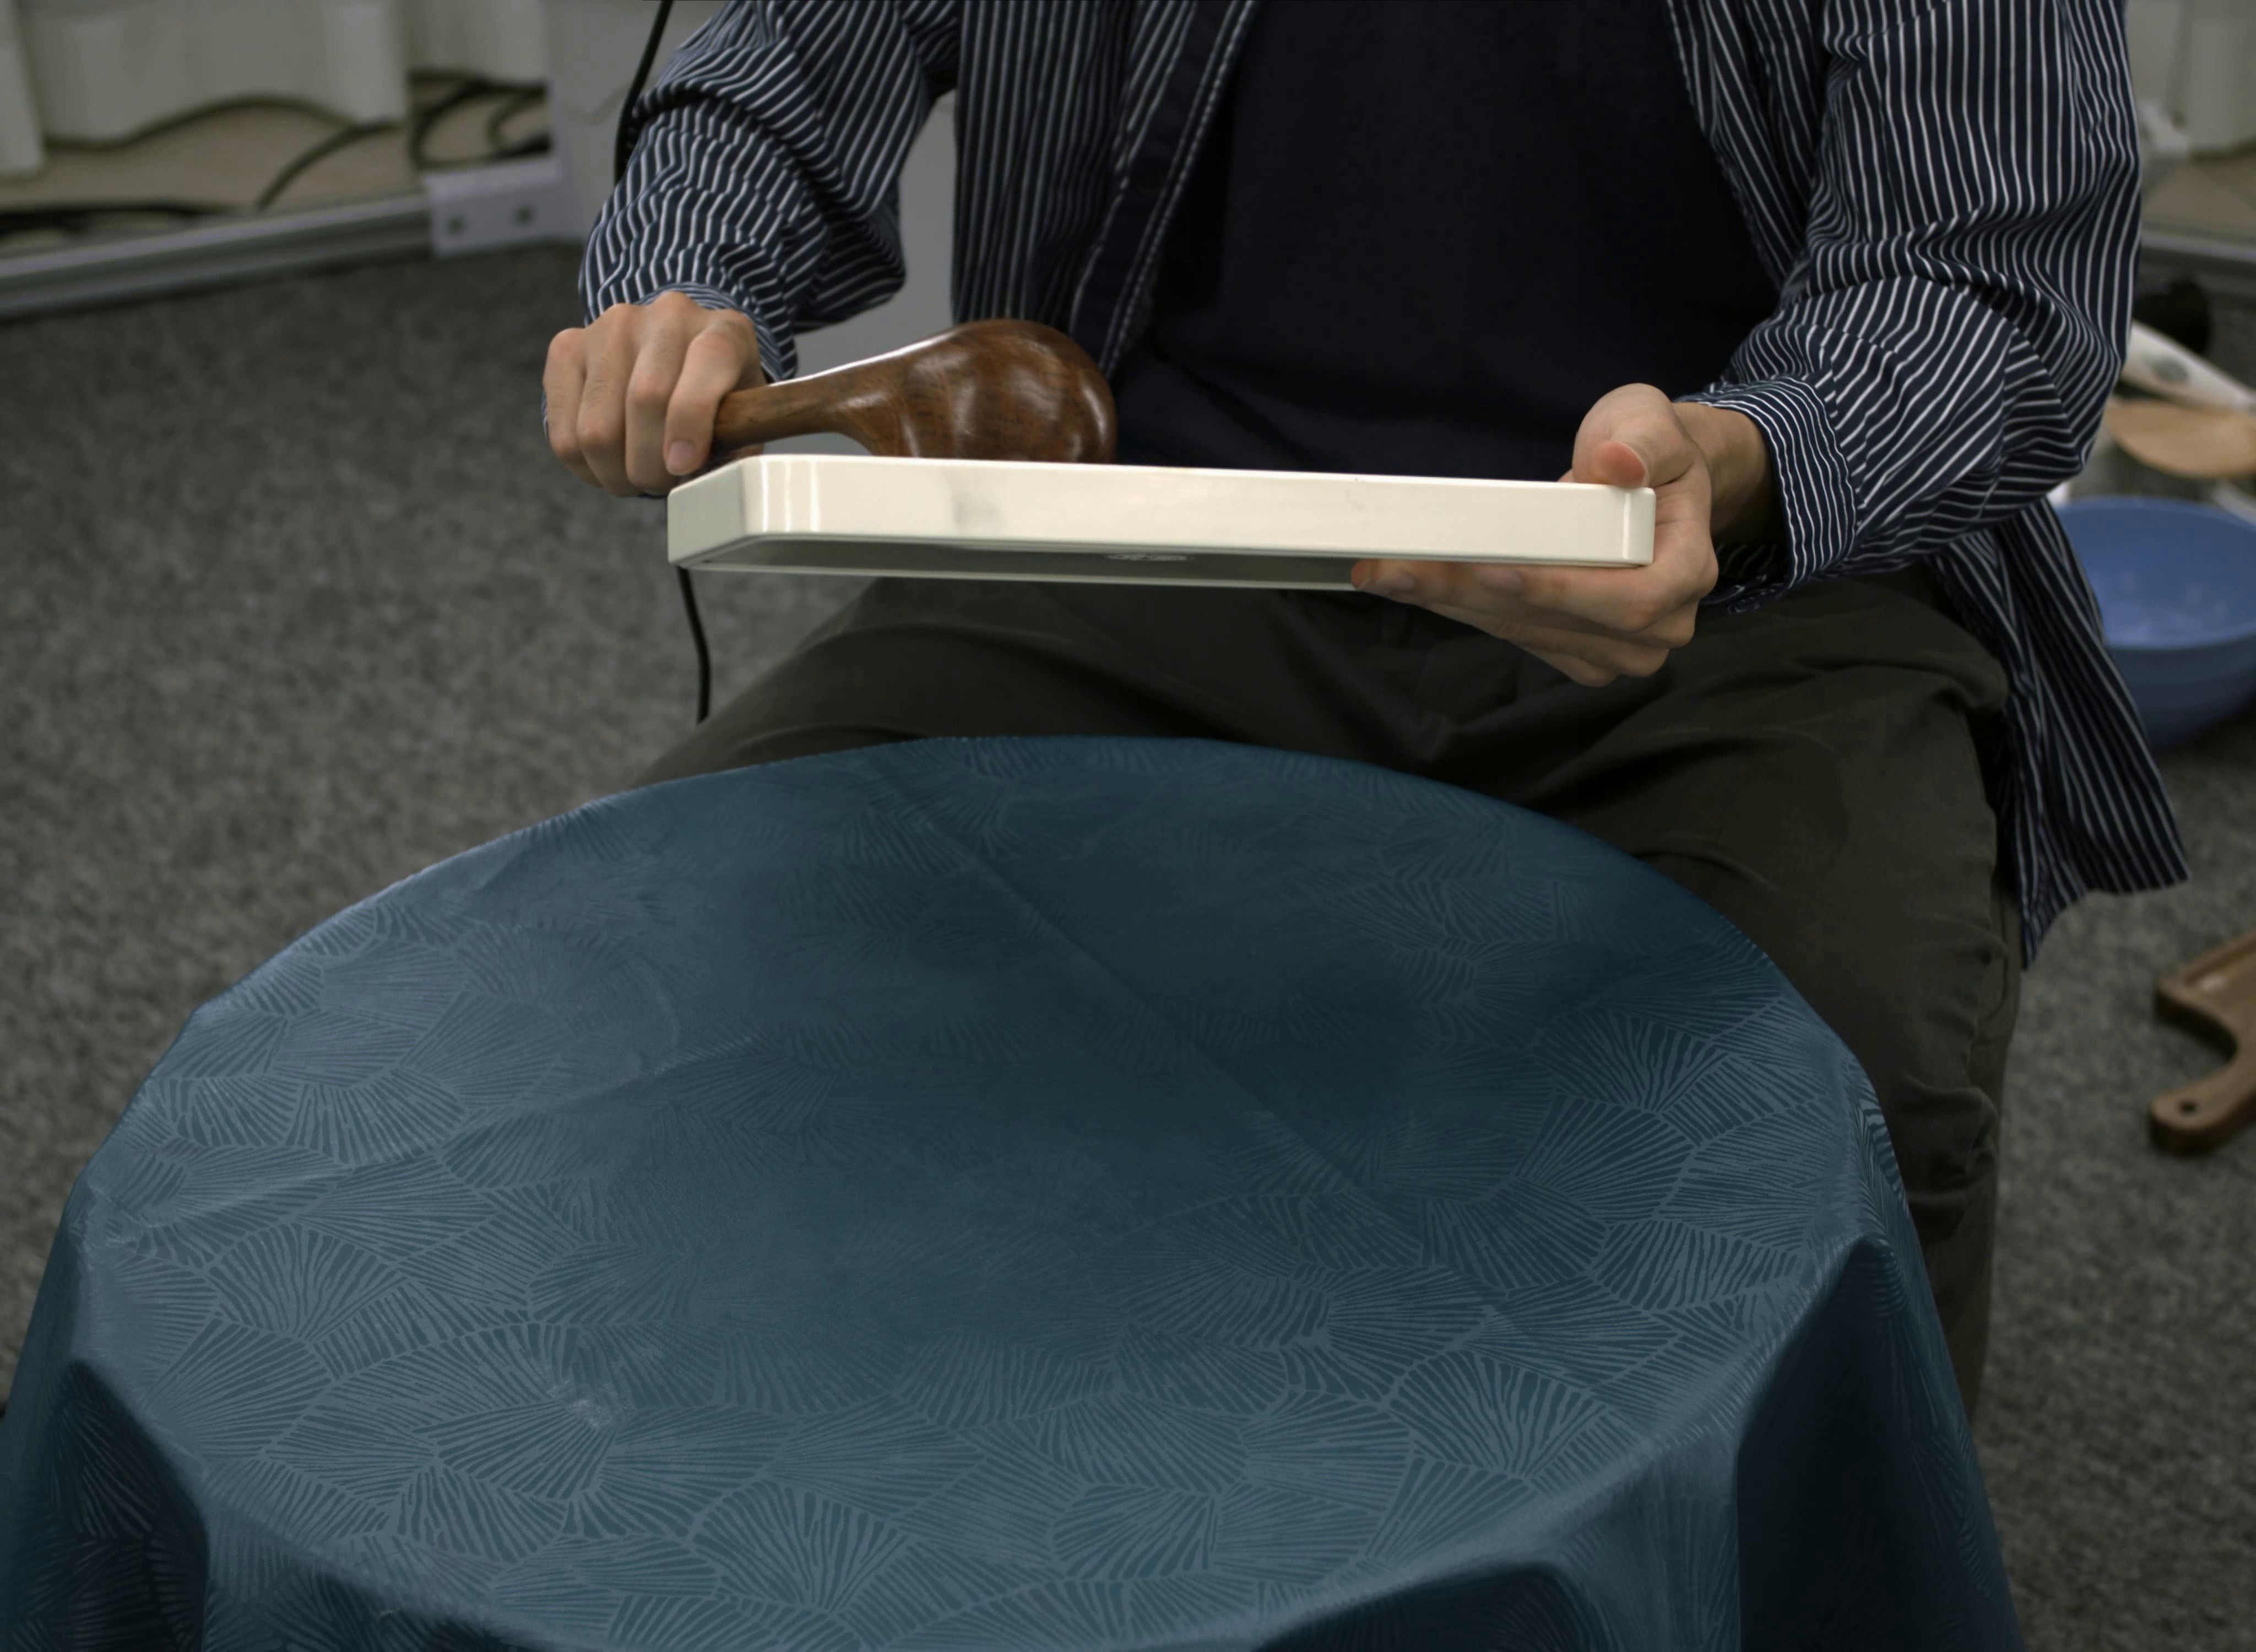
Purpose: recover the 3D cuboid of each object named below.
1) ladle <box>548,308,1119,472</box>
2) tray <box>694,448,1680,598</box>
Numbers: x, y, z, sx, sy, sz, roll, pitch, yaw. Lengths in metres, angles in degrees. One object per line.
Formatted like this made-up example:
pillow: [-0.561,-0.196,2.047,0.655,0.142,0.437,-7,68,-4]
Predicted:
ladle: [-0.103,-0.132,1.965,0.271,0.076,0.083,-4,53,55]
tray: [0.016,-0.098,1.867,0.300,0.027,0.190,1,-2,-14]
